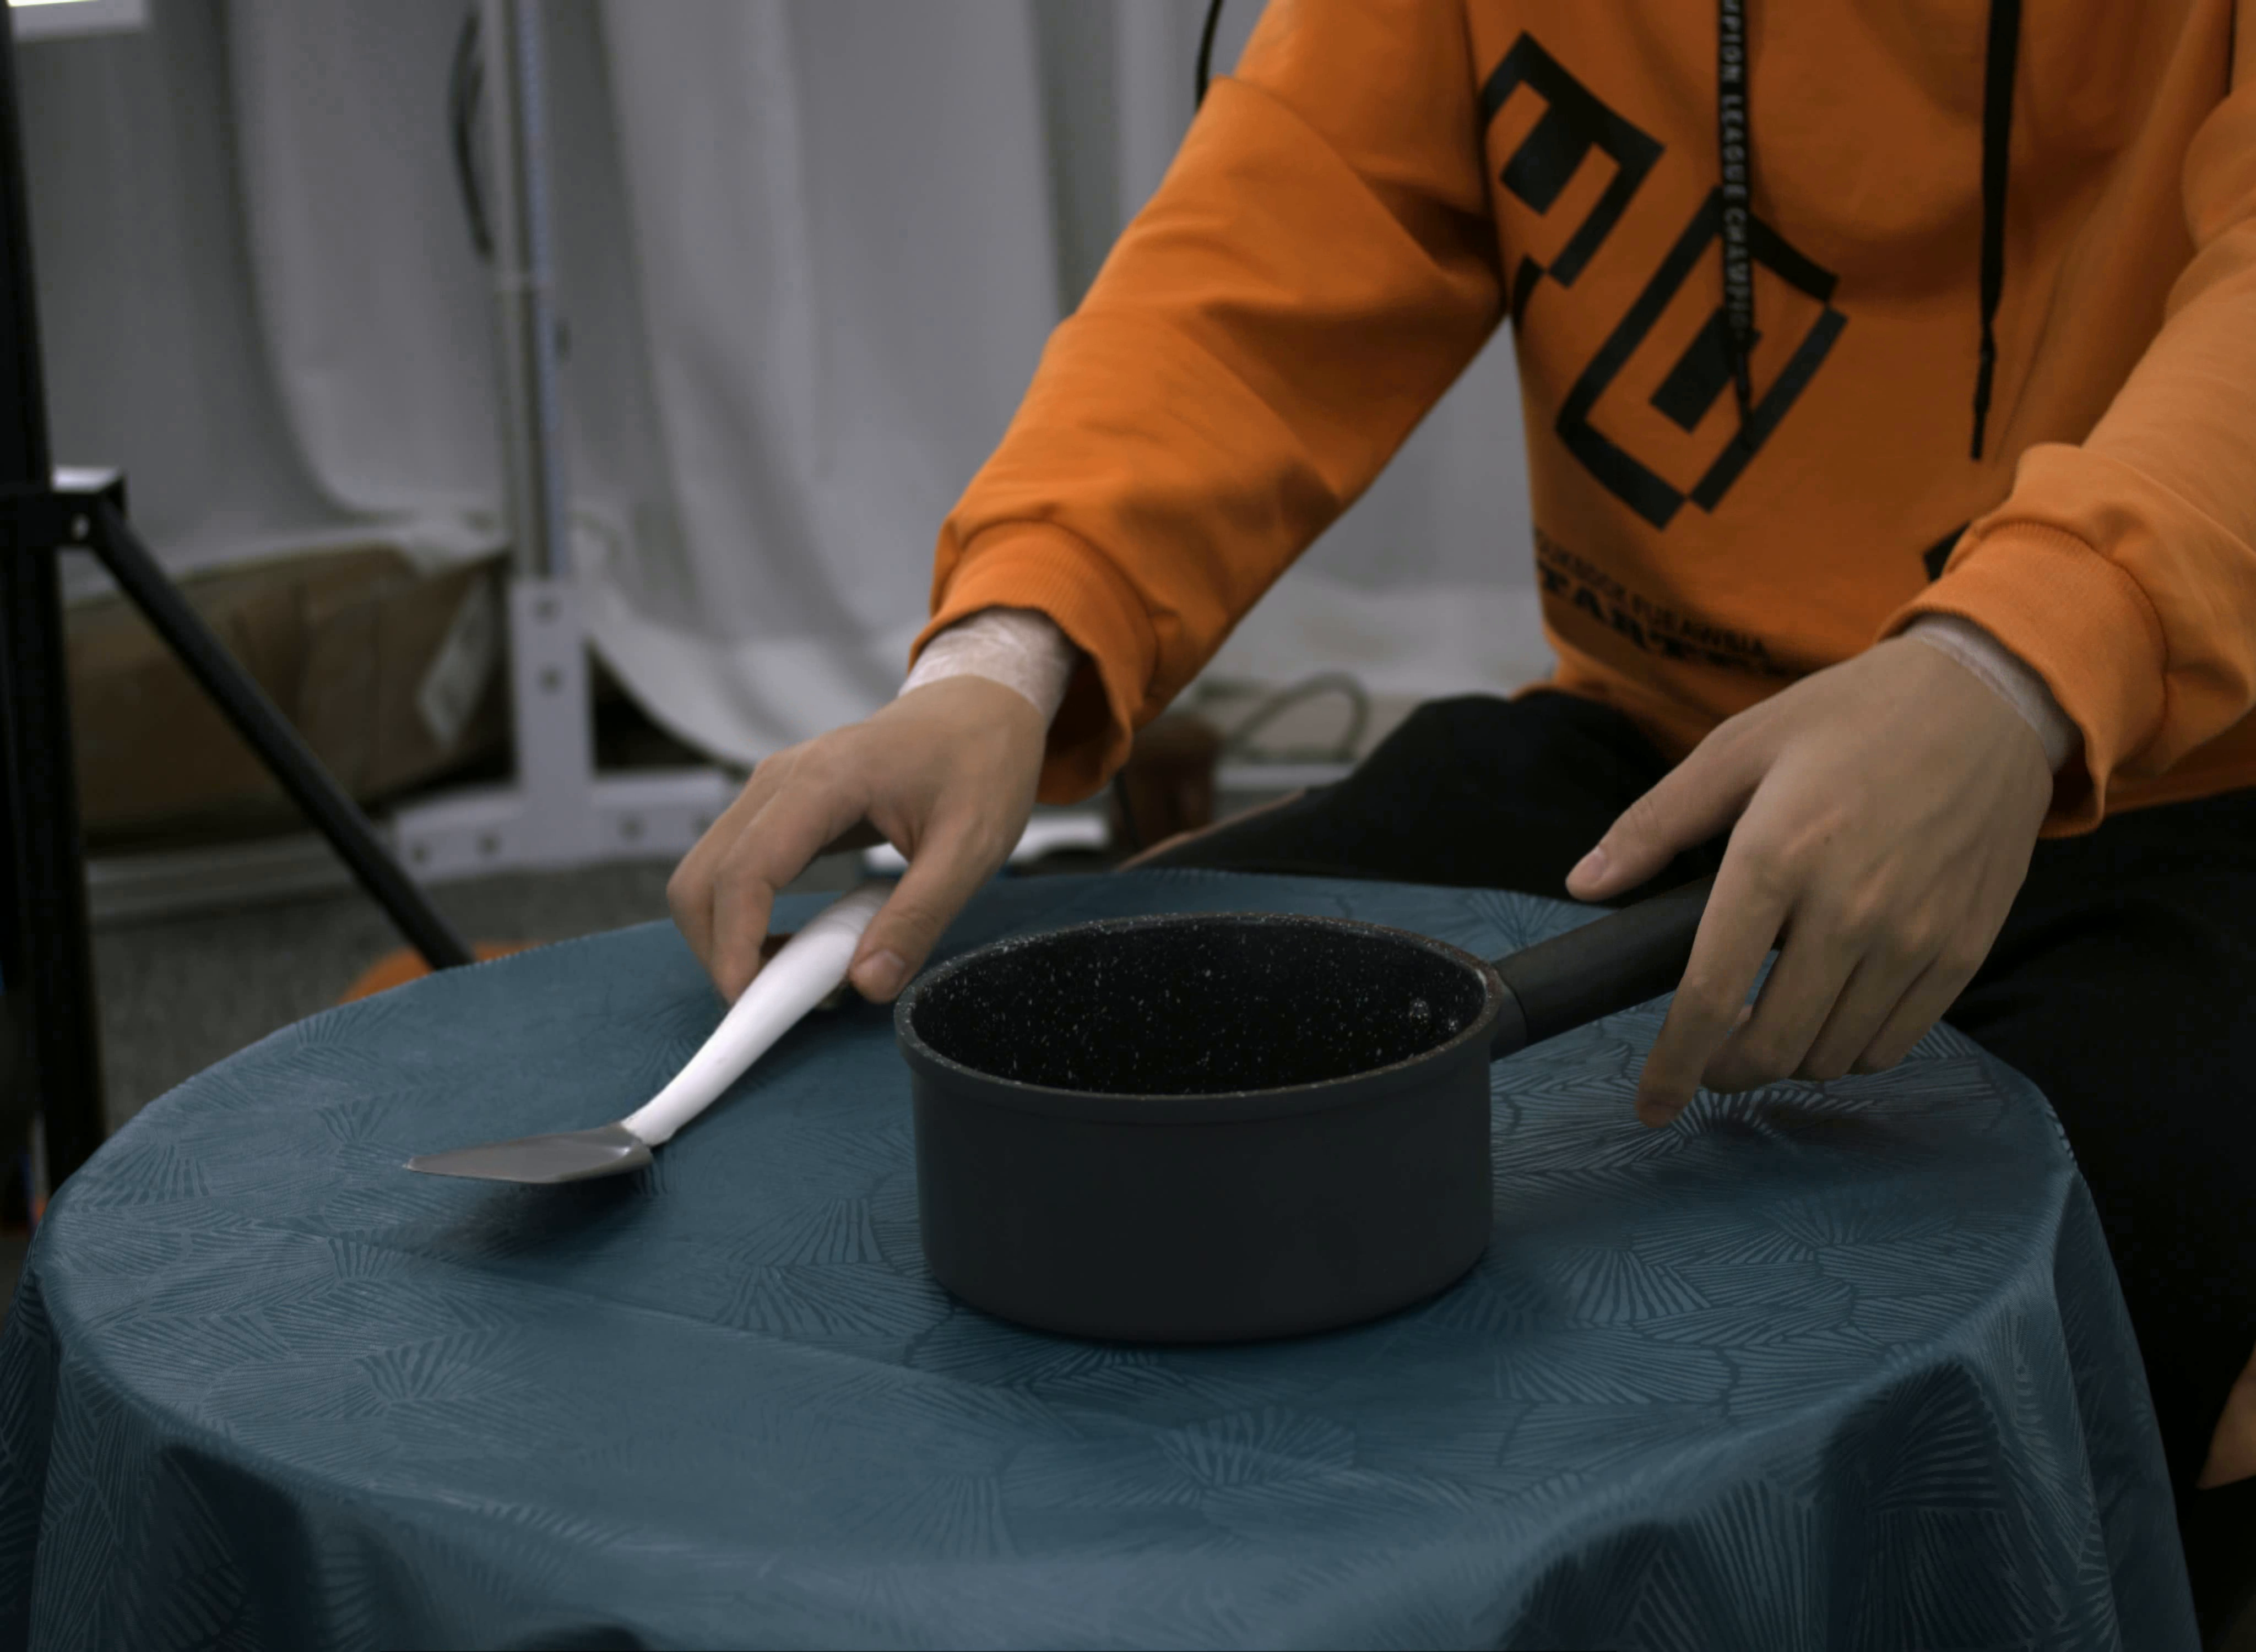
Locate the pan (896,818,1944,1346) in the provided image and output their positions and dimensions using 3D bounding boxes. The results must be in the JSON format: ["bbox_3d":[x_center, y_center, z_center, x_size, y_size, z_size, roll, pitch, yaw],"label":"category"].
[{"bbox_3d":[0.092,0.069,1.526,0.322,0.086,0.175,-11,19,-23],"label":"pan"}]

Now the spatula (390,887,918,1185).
[{"bbox_3d":[-0.136,0.072,1.649,0.059,0.032,0.284,7,18,21],"label":"spatula"}]
